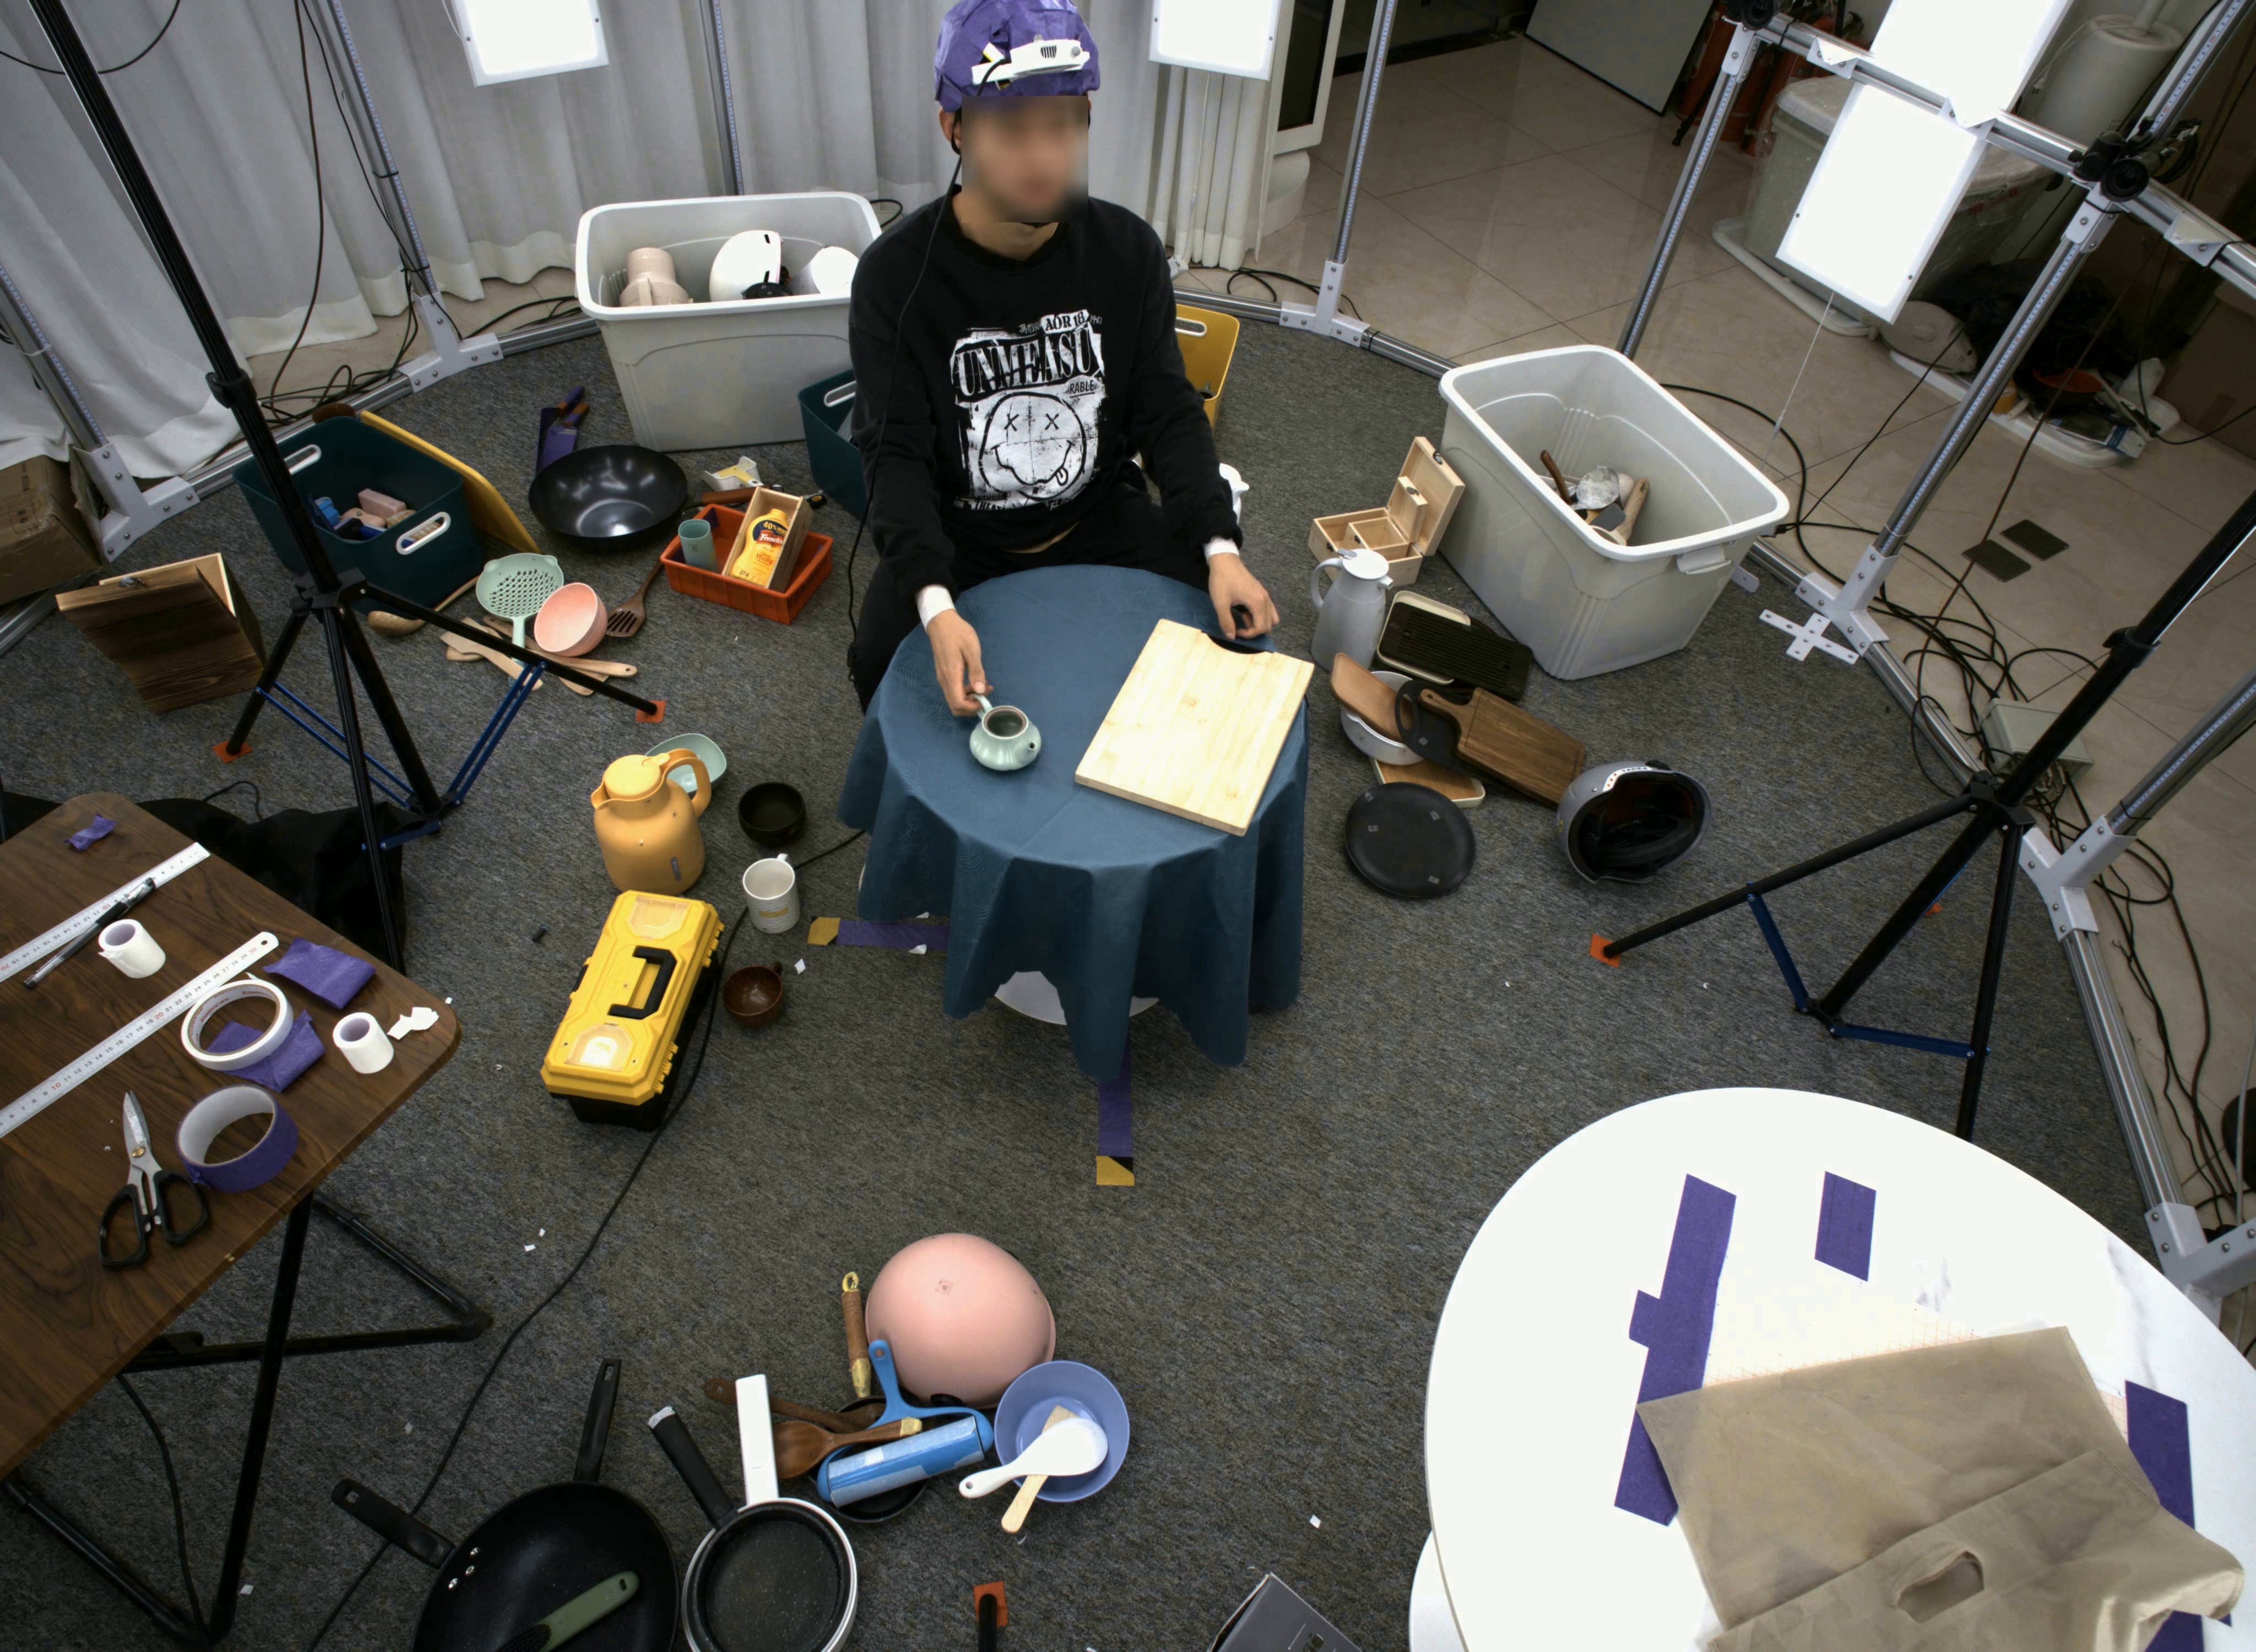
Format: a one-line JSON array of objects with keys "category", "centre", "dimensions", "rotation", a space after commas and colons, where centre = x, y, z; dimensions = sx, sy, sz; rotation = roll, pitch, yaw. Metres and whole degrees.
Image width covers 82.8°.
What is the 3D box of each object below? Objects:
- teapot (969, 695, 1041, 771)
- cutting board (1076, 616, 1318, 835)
[{"category": "teapot", "centre": [-0.168, -0.124, 1.728], "dimensions": [0.097, 0.060, 0.139], "rotation": [-34, 59, -27]}, {"category": "cutting board", "centre": [0.102, -0.151, 1.796], "dimensions": [0.252, 0.023, 0.355], "rotation": [17, 50, 11]}]
